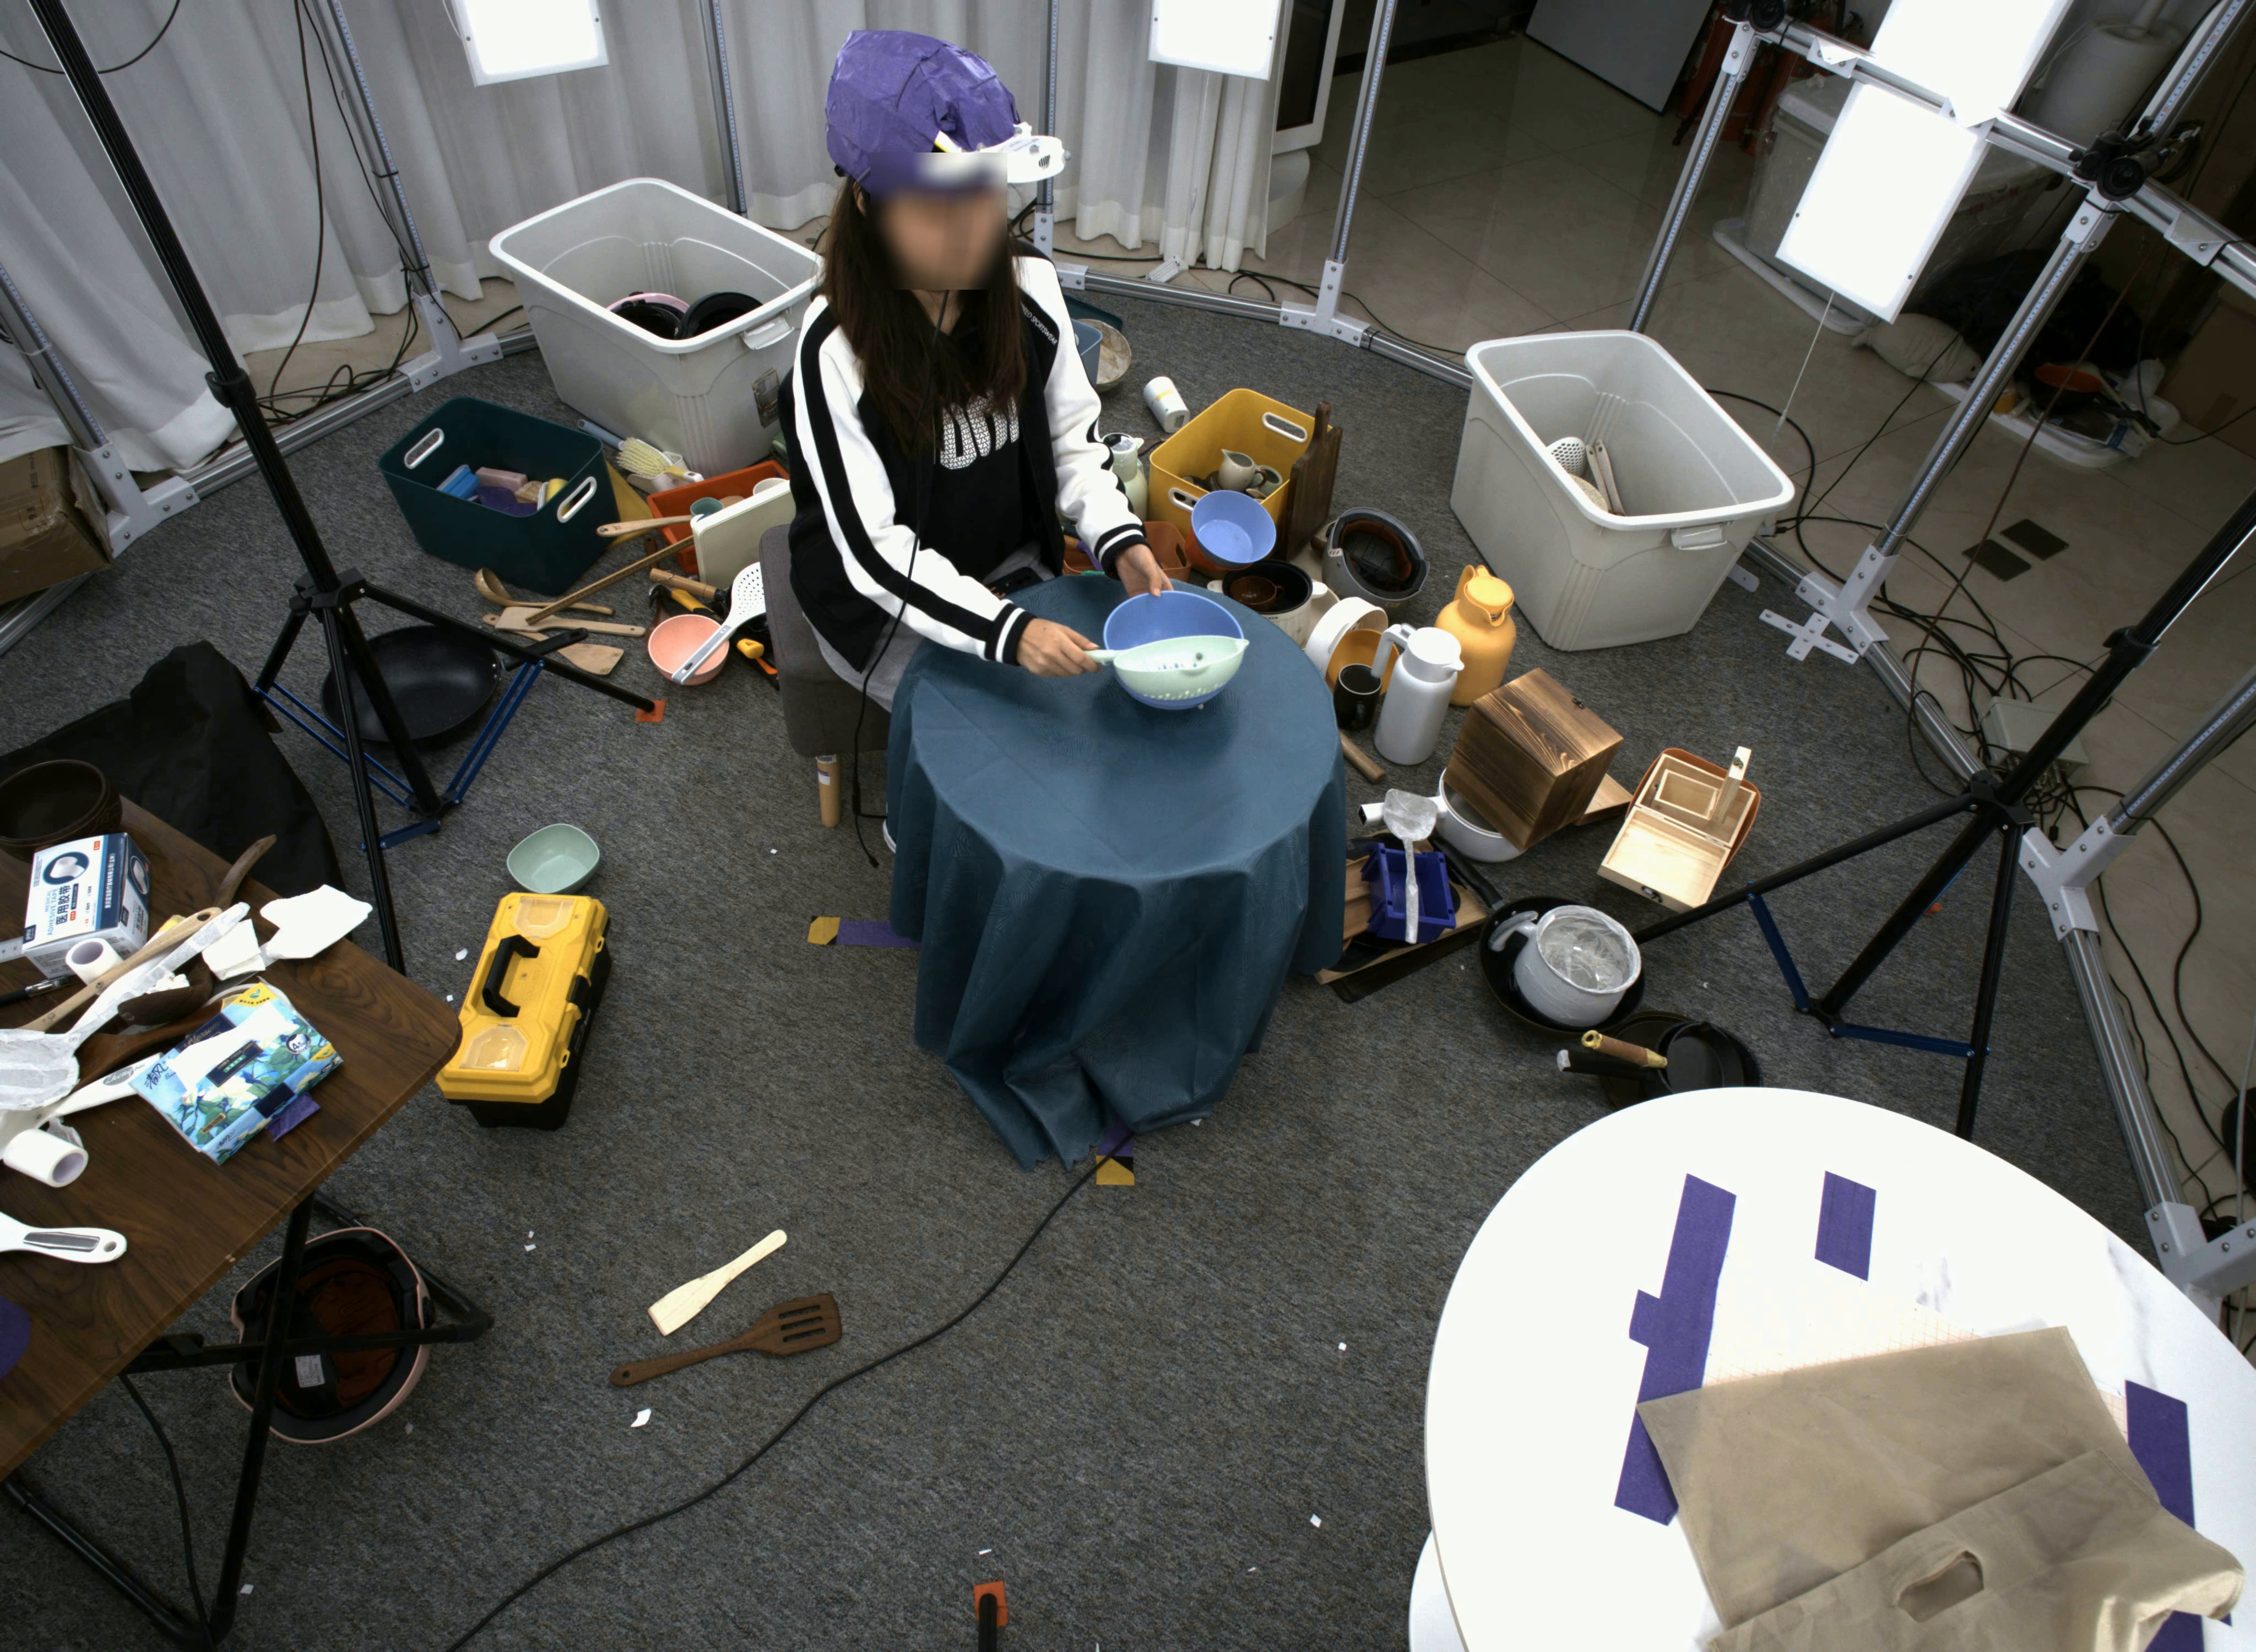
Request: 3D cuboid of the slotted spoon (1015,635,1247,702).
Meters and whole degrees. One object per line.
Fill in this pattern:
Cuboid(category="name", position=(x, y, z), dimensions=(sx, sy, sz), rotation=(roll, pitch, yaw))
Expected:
Cuboid(category="slotted spoon", position=(-0.014, -0.219, 1.713), dimensions=(0.362, 0.074, 0.171), rotation=(14, 29, 33))

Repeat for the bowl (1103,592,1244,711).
Cuboid(category="bowl", position=(0.061, -0.232, 1.814), dimensions=(0.196, 0.093, 0.201), rotation=(1, 50, -2))
